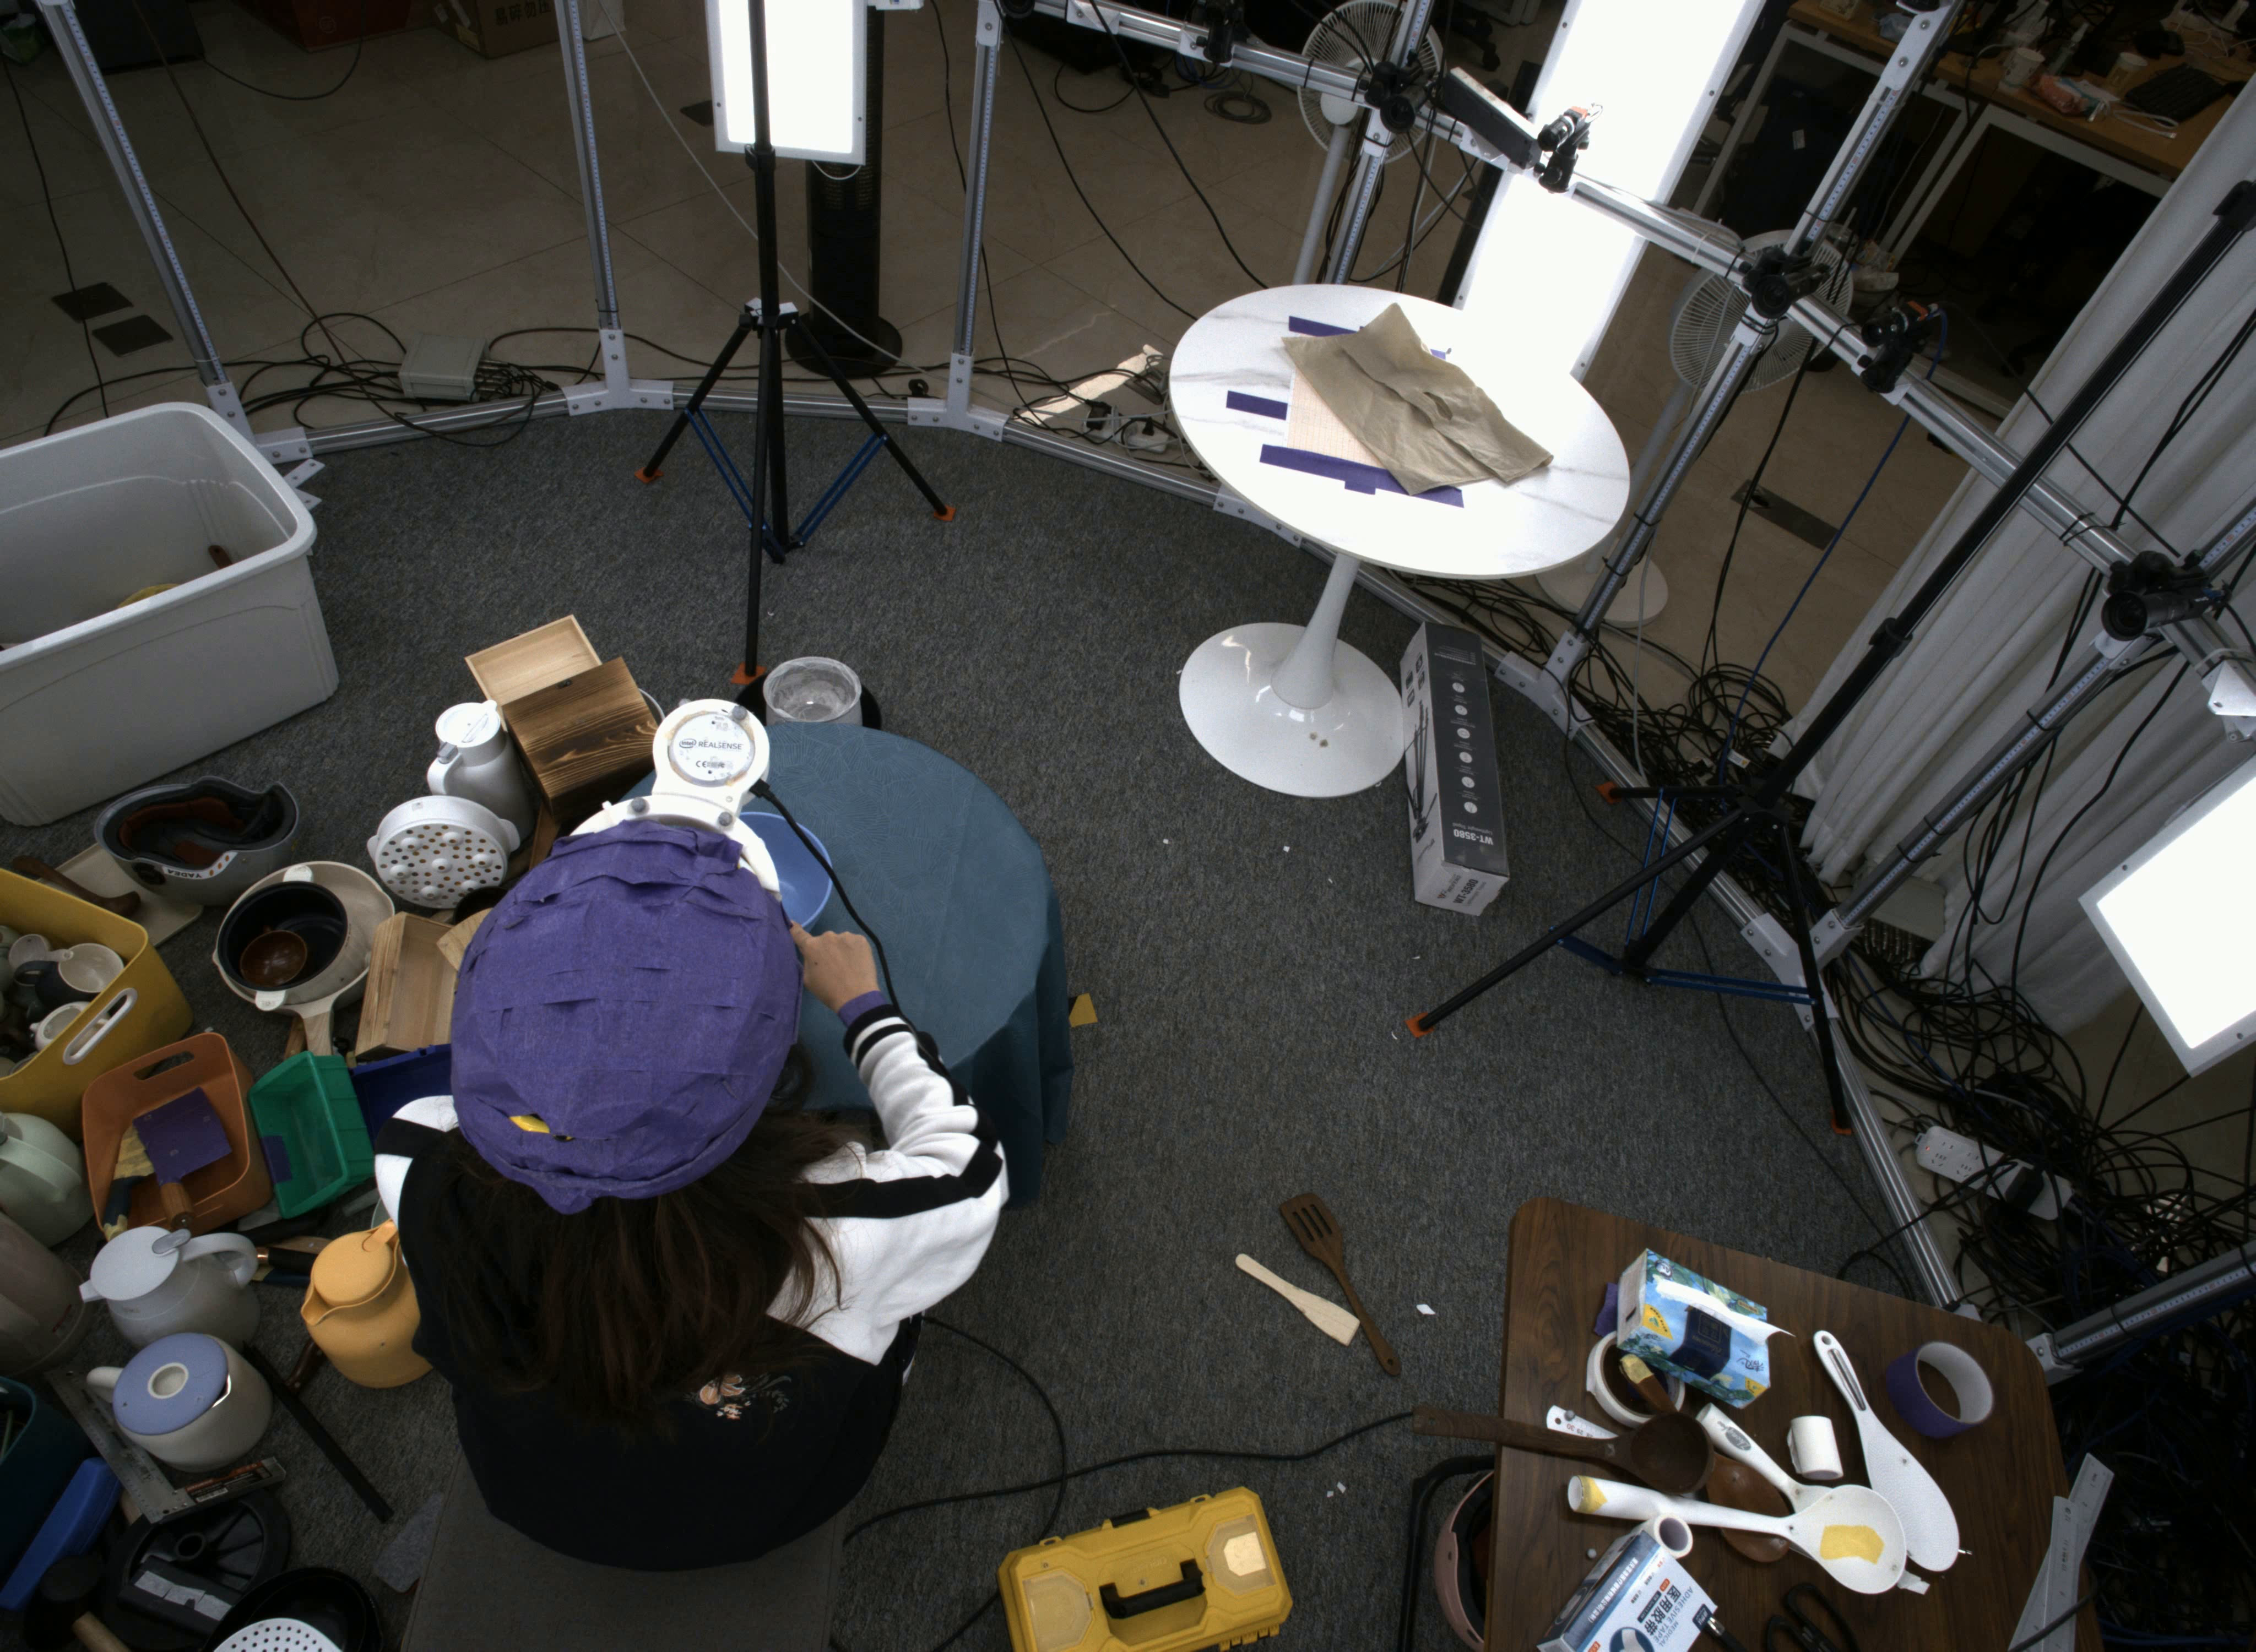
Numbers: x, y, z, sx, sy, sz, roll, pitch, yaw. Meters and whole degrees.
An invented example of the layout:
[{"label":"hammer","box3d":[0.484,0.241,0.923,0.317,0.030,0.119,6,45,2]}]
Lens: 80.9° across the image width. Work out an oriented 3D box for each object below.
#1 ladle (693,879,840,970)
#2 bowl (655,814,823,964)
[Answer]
[{"label":"ladle","box3d":[-0.418,0.136,1.517,0.245,0.075,0.072,28,39,30]},{"label":"bowl","box3d":[-0.474,0.090,1.580,0.196,0.097,0.193,10,52,-11]}]
